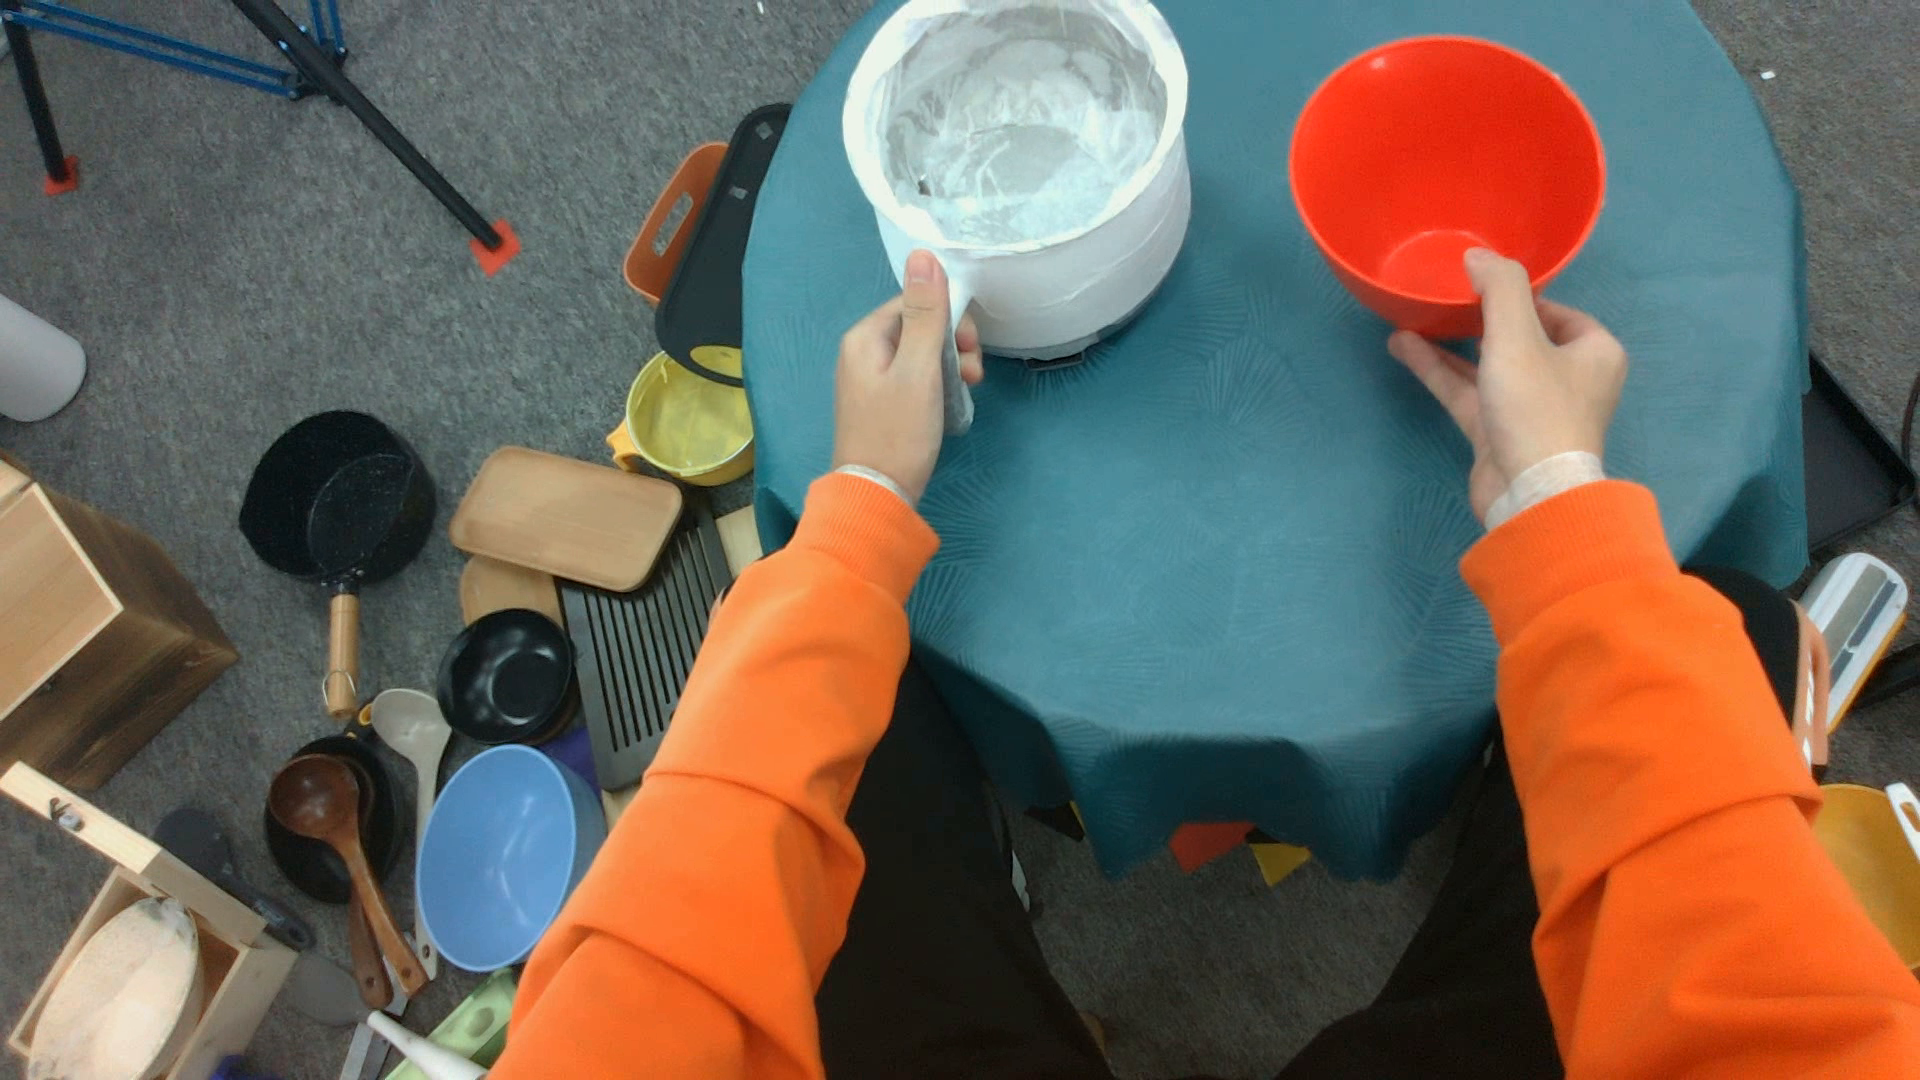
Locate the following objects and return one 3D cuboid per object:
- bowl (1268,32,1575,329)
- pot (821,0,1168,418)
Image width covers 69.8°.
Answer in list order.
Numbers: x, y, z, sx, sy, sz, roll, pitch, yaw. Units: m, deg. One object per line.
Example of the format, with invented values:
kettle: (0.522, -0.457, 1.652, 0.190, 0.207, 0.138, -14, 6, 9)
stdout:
bowl: (0.235, -0.173, 0.718, 0.148, 0.104, 0.148, -4, 66, 9)
pot: (0.015, -0.186, 0.755, 0.178, 0.136, 0.234, 18, 74, 16)
